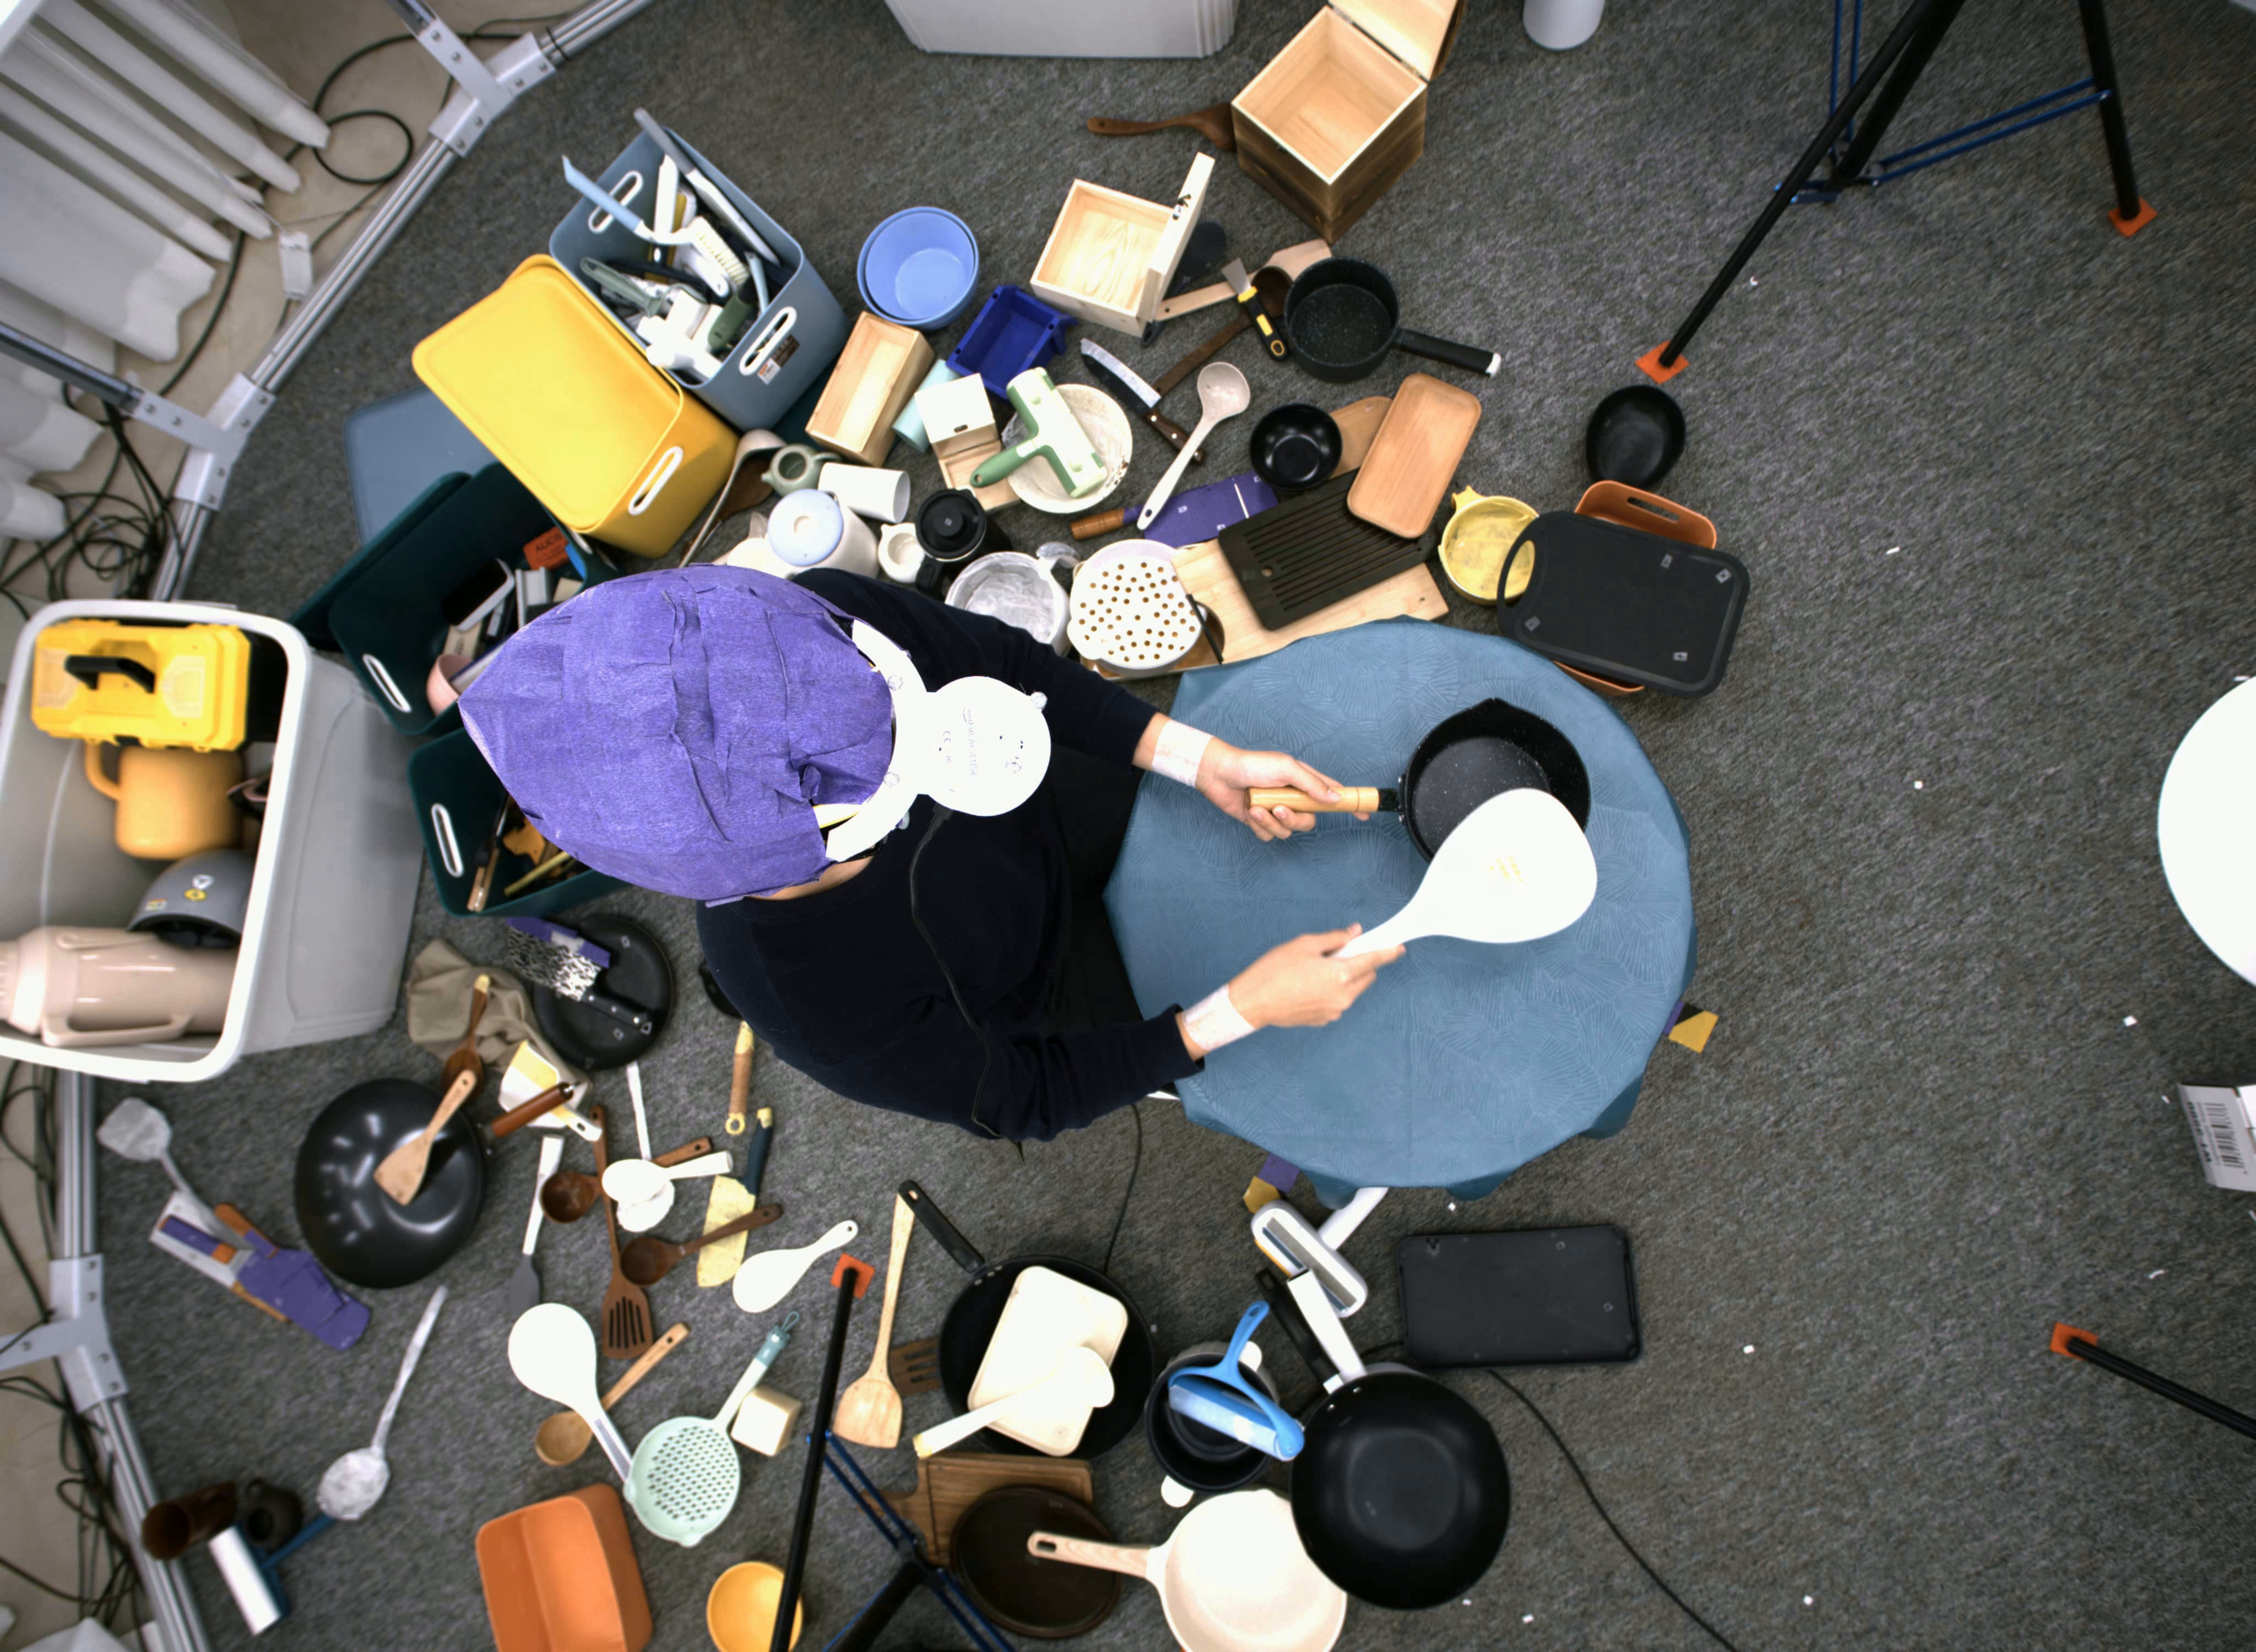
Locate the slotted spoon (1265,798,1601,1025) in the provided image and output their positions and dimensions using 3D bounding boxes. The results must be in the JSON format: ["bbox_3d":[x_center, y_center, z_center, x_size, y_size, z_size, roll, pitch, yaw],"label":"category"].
[{"bbox_3d":[0.282,0.093,1.308,0.347,0.050,0.136,-28,89,-5],"label":"slotted spoon"}]

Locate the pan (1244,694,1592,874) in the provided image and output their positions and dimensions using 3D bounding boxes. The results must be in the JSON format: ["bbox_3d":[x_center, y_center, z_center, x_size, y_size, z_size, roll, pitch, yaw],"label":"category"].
[{"bbox_3d":[0.288,-0.025,1.394,0.343,0.108,0.207,-2,88,4],"label":"pan"}]
